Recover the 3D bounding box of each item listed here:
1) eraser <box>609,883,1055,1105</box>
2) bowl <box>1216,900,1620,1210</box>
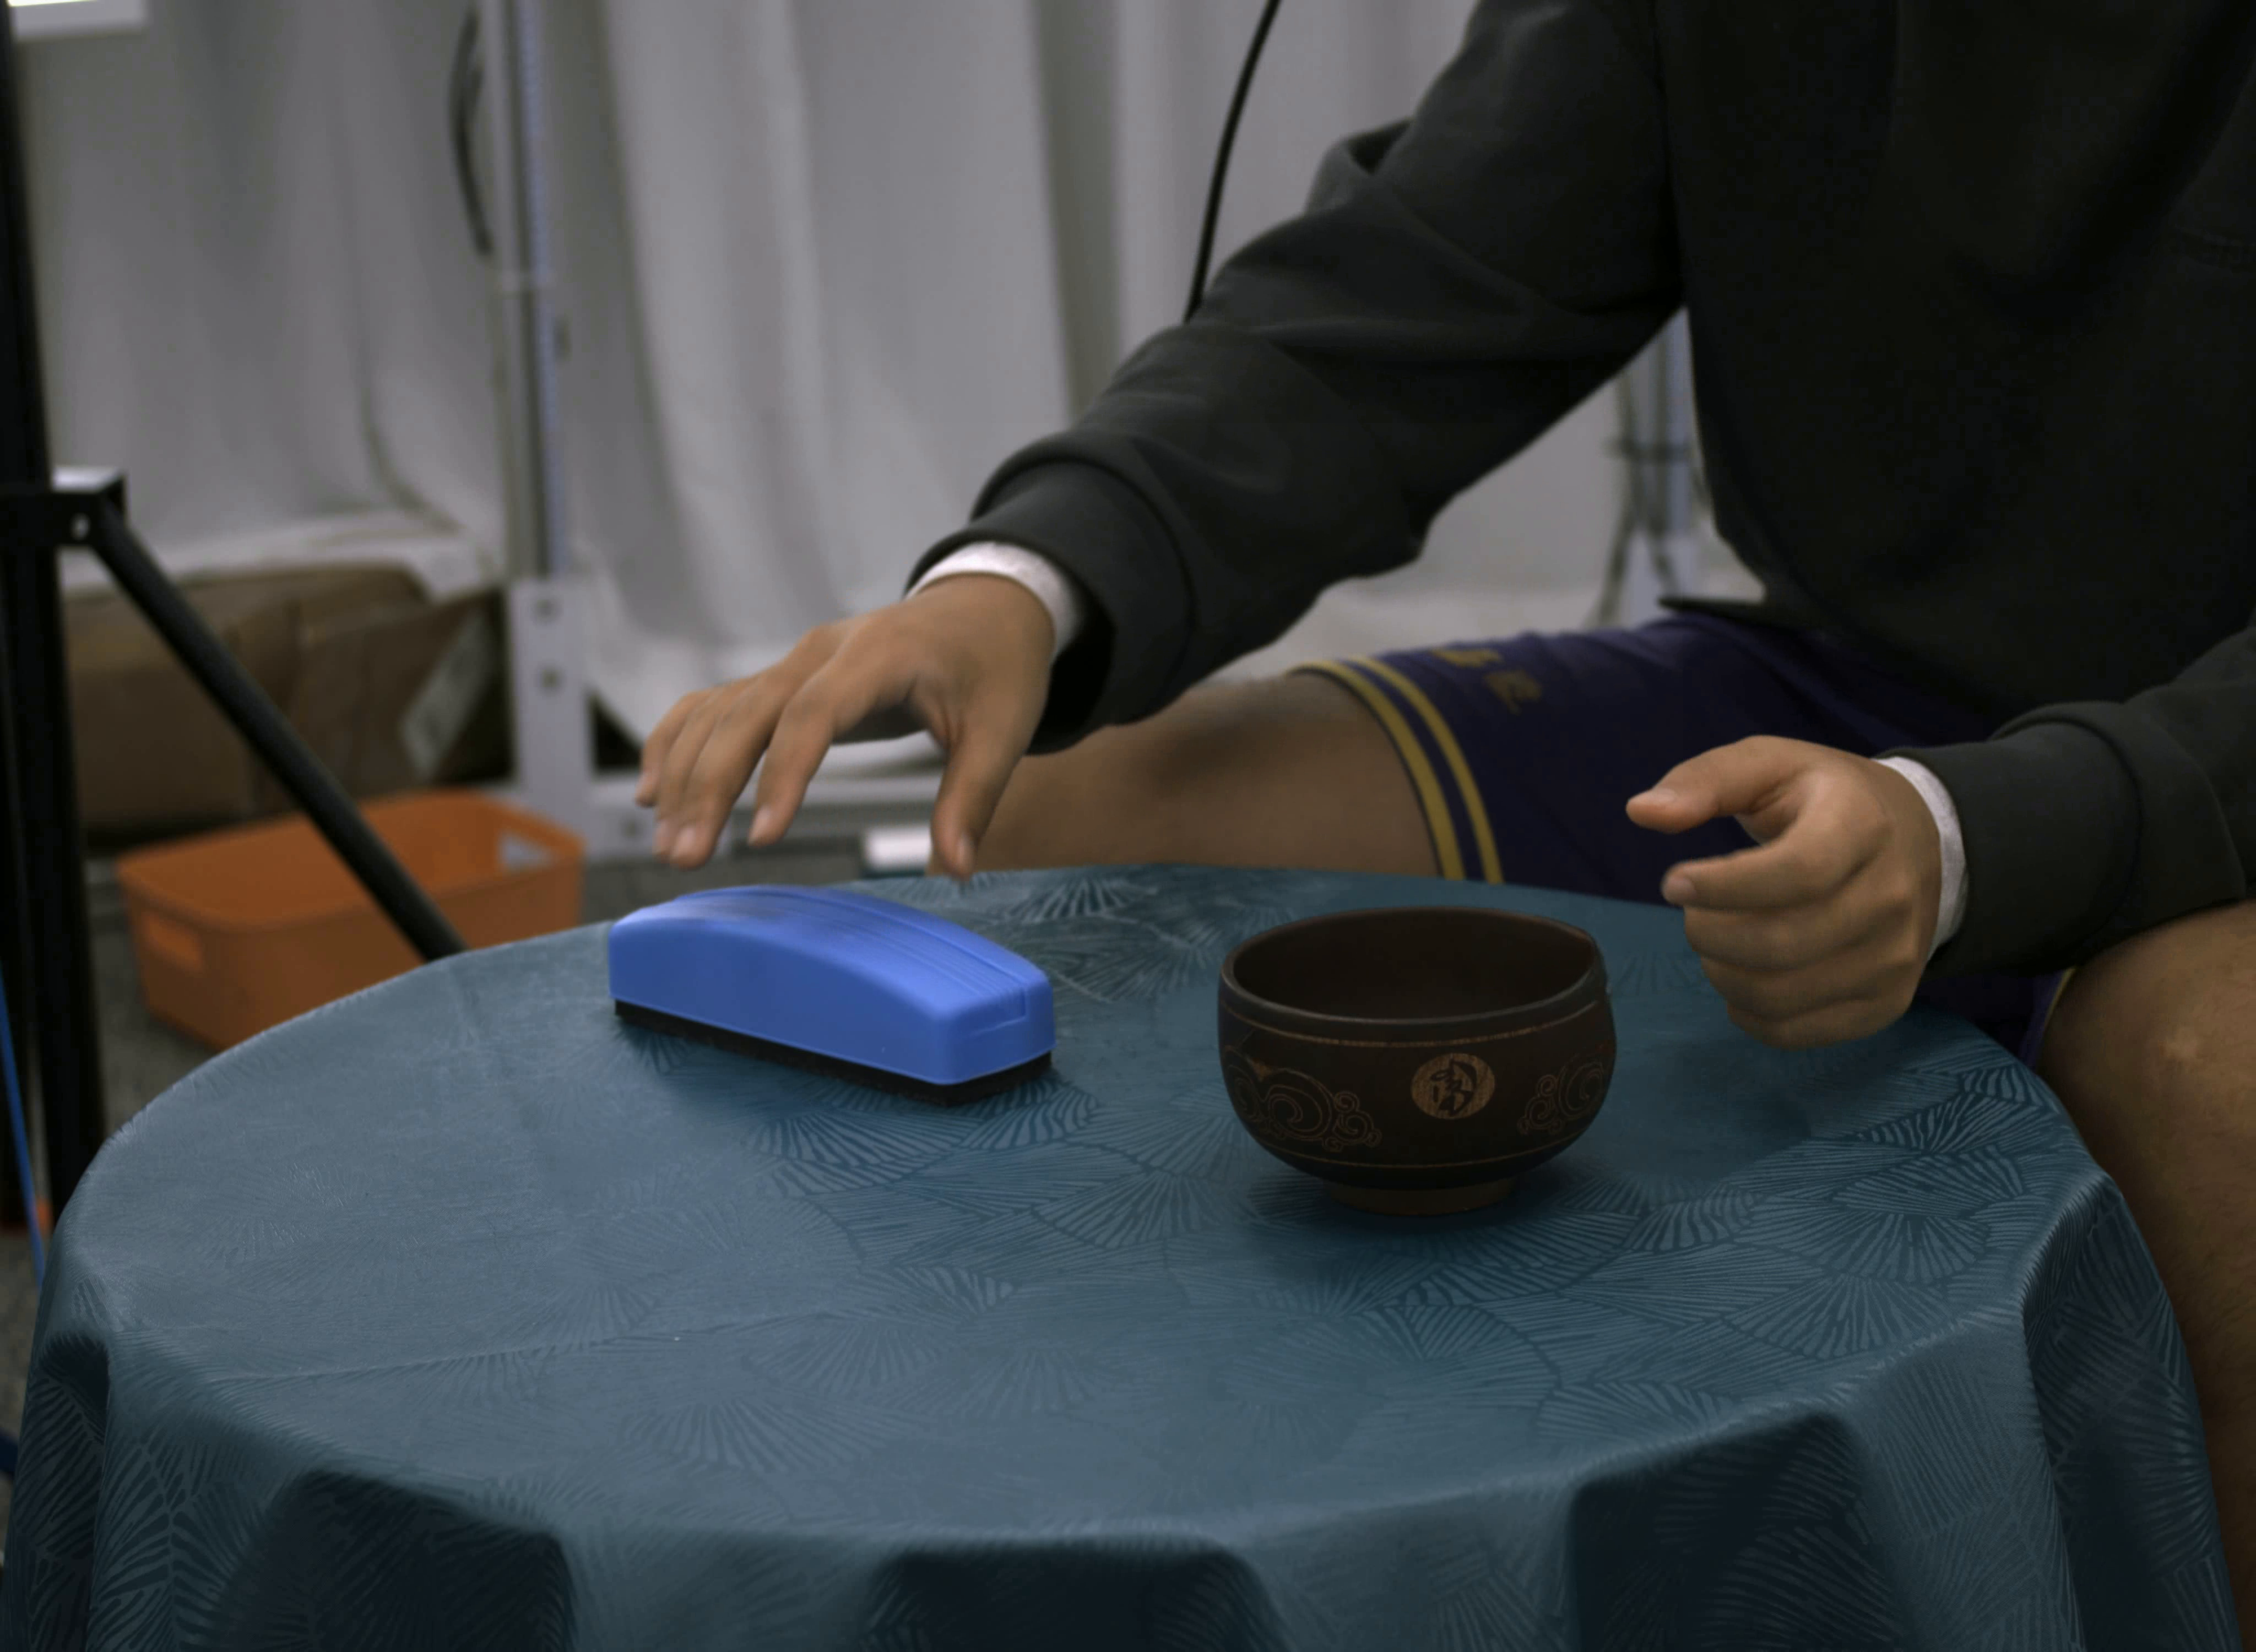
[{"bbox_3d":[-0.096,0.048,1.704,0.166,0.047,0.052,12,22,41],"label":"eraser"},{"bbox_3d":[0.085,0.070,1.544,0.117,0.070,0.118,-3,14,-1],"label":"bowl"}]
